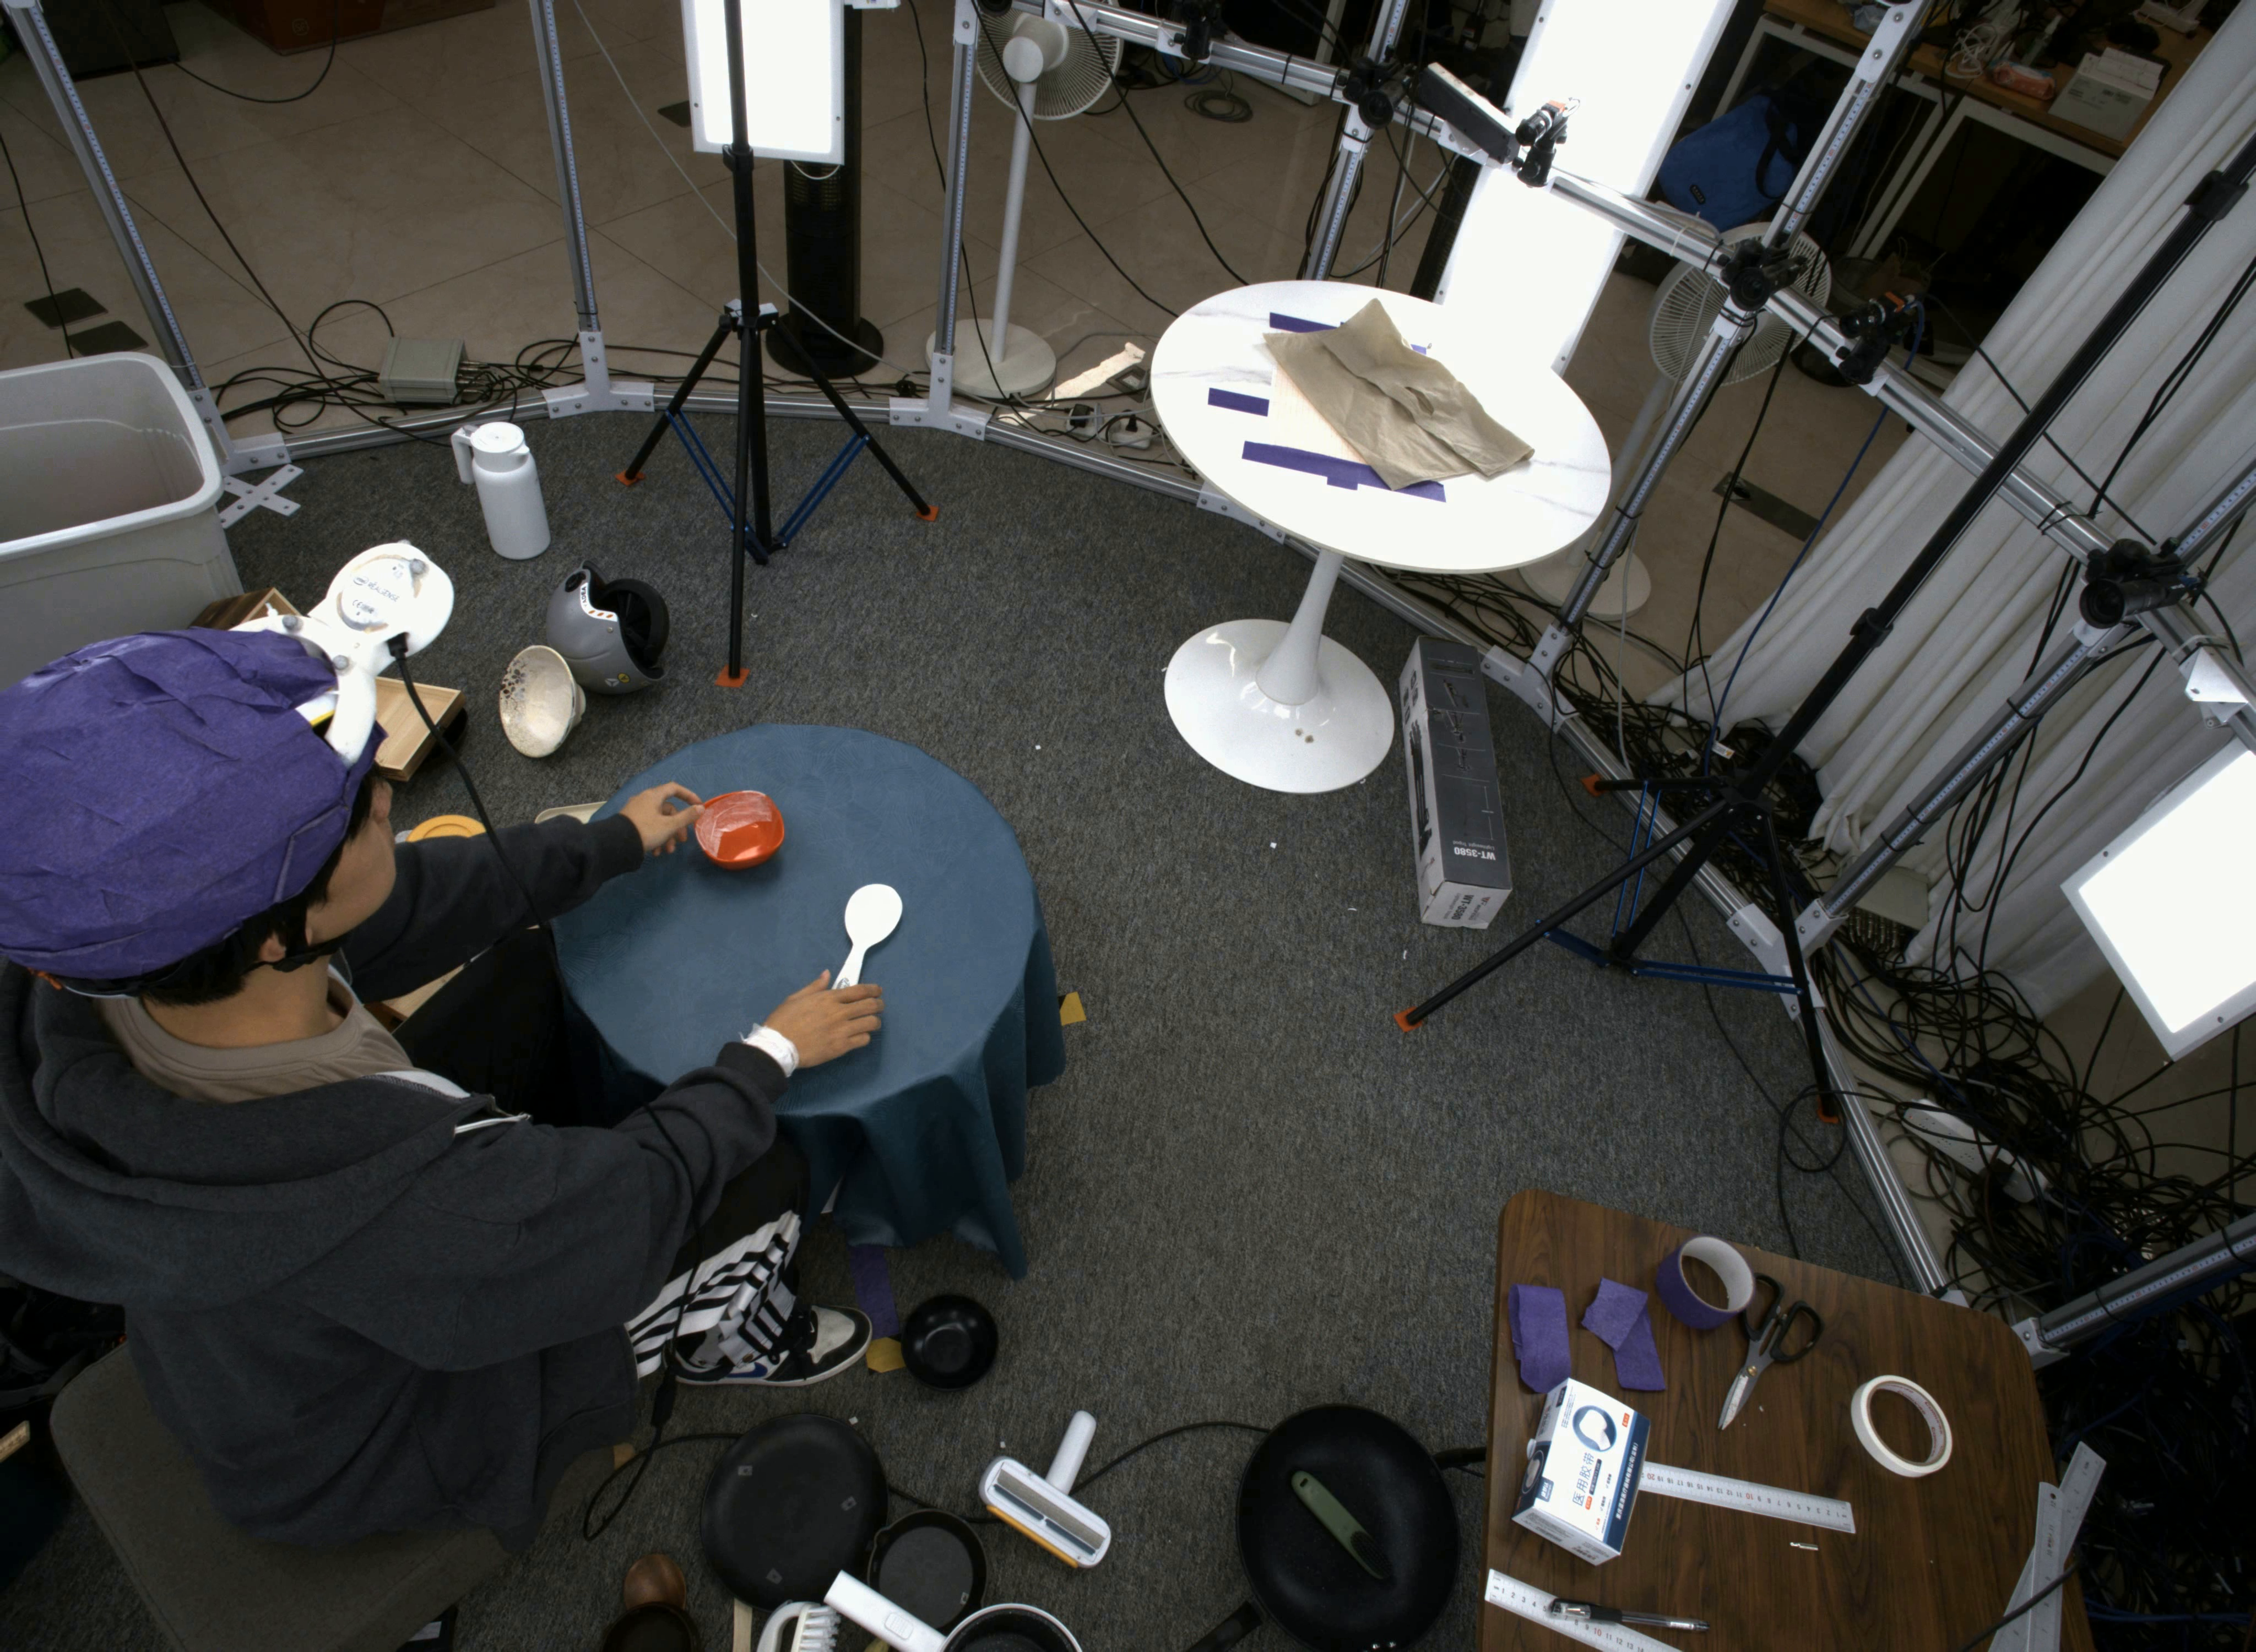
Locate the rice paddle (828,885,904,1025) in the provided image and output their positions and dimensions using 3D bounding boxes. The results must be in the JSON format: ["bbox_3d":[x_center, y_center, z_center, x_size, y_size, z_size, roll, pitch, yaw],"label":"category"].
[{"bbox_3d":[-0.330,0.151,1.620,0.068,0.030,0.202,16,51,-4],"label":"rice paddle"}]

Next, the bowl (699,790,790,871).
[{"bbox_3d":[-0.493,0.012,1.668,0.119,0.052,0.117,8,51,-9],"label":"bowl"}]
